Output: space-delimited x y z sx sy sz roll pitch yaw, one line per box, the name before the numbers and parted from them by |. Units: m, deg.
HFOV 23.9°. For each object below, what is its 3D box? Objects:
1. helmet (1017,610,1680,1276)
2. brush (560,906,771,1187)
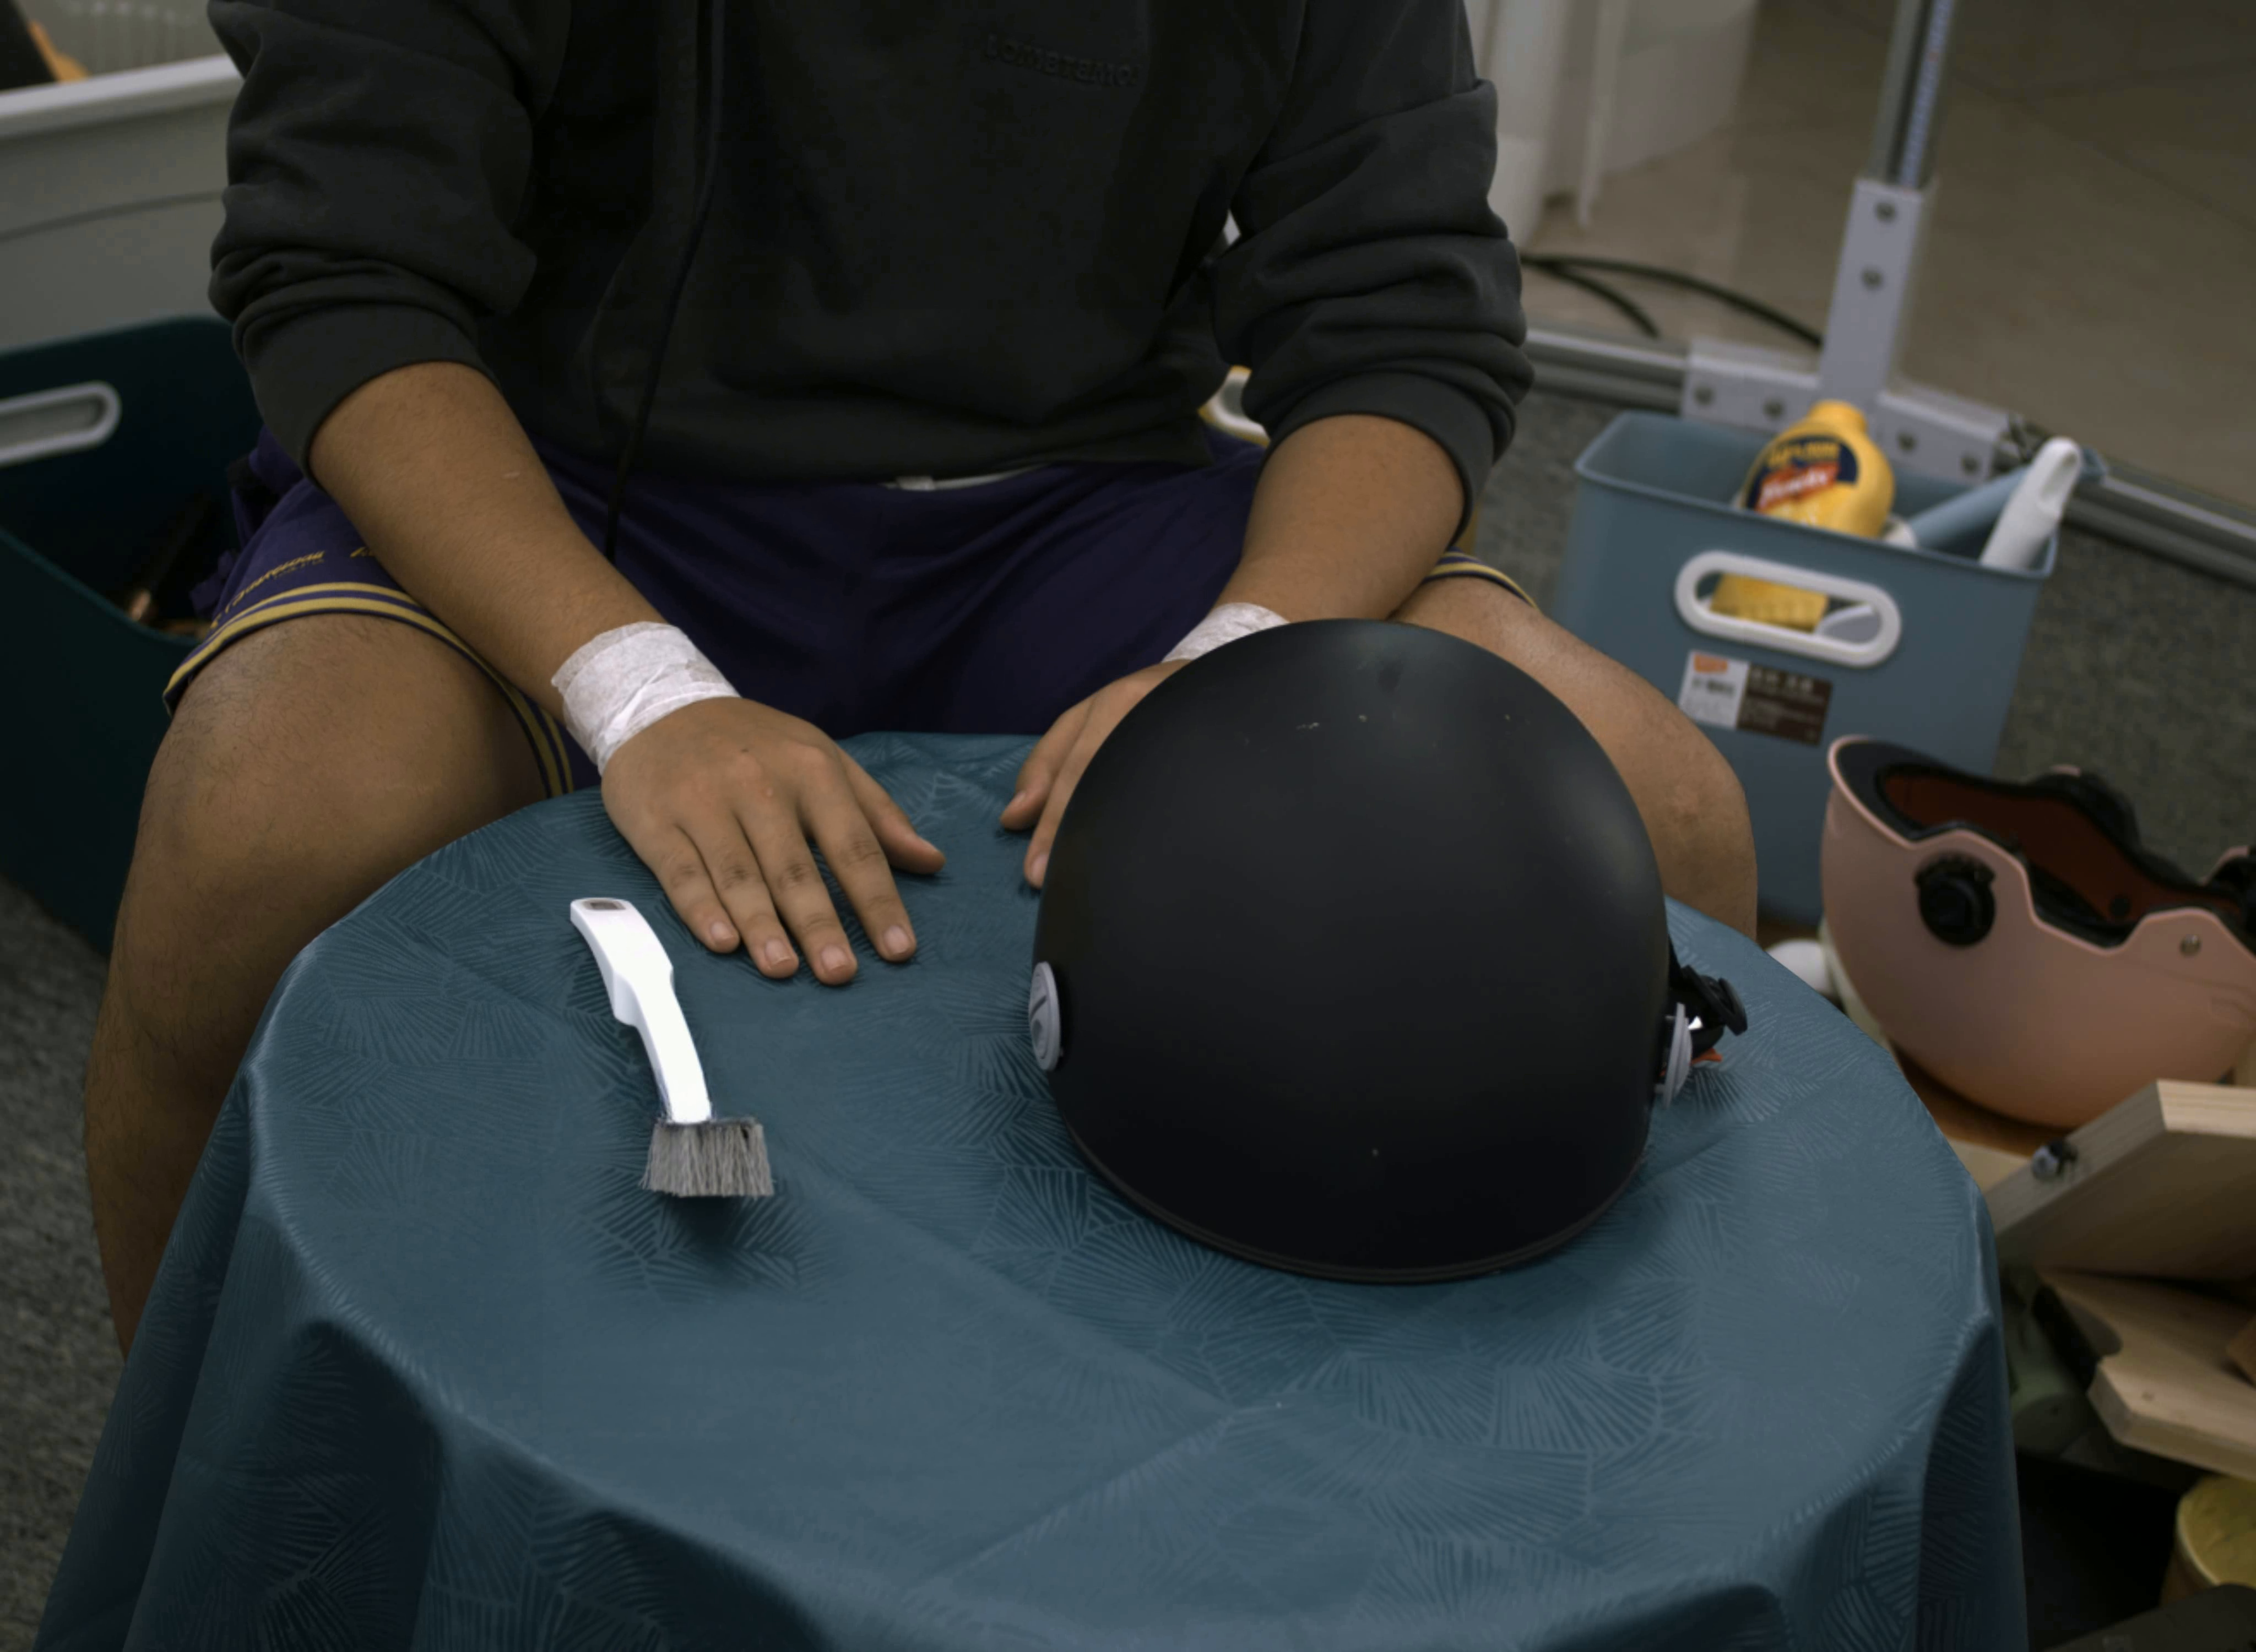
helmet | 0.079 0.022 1.846 0.229 0.166 0.275 4 29 -1
brush | -0.163 0.079 1.828 0.034 0.050 0.245 -2 15 -17
